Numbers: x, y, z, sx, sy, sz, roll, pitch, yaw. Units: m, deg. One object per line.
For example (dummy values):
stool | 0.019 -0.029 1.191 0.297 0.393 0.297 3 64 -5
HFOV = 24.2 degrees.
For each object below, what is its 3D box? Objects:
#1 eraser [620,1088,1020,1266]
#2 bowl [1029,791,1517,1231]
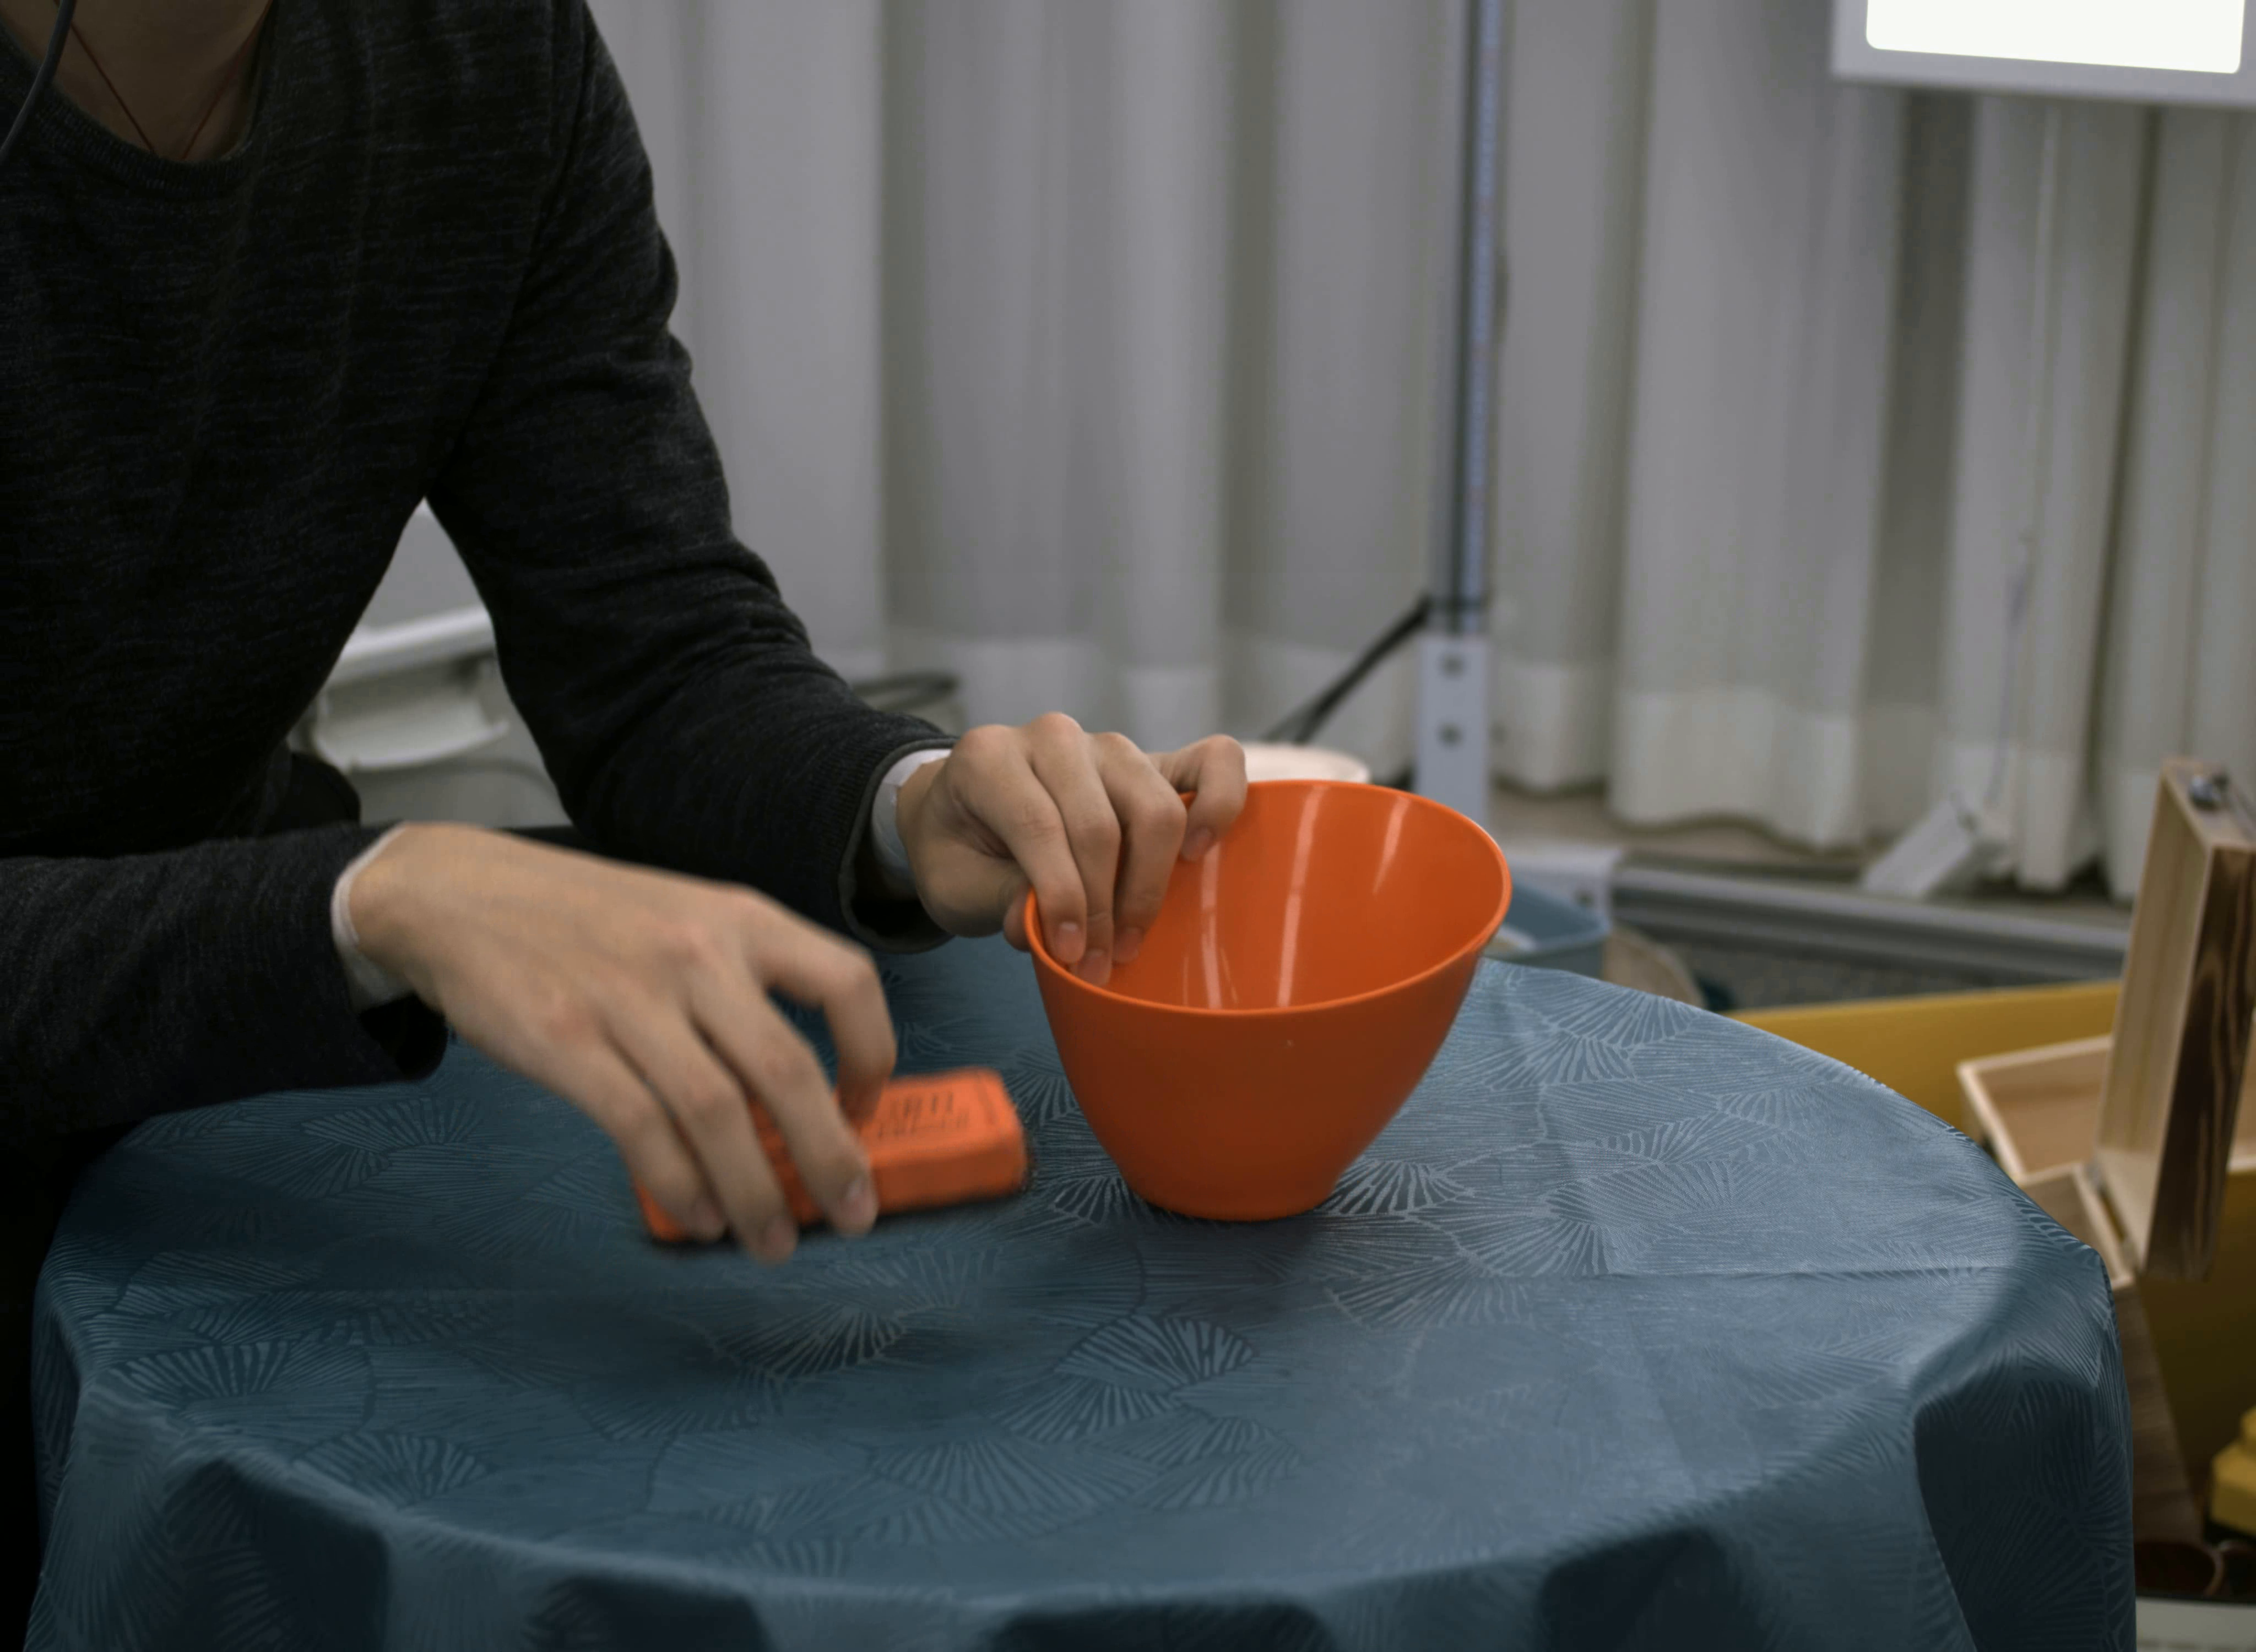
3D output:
eraser | -0.087 0.098 1.477 0.108 0.023 0.058 -6 20 -11
bowl | 0.042 0.060 1.607 0.147 0.105 0.147 3 20 -1
